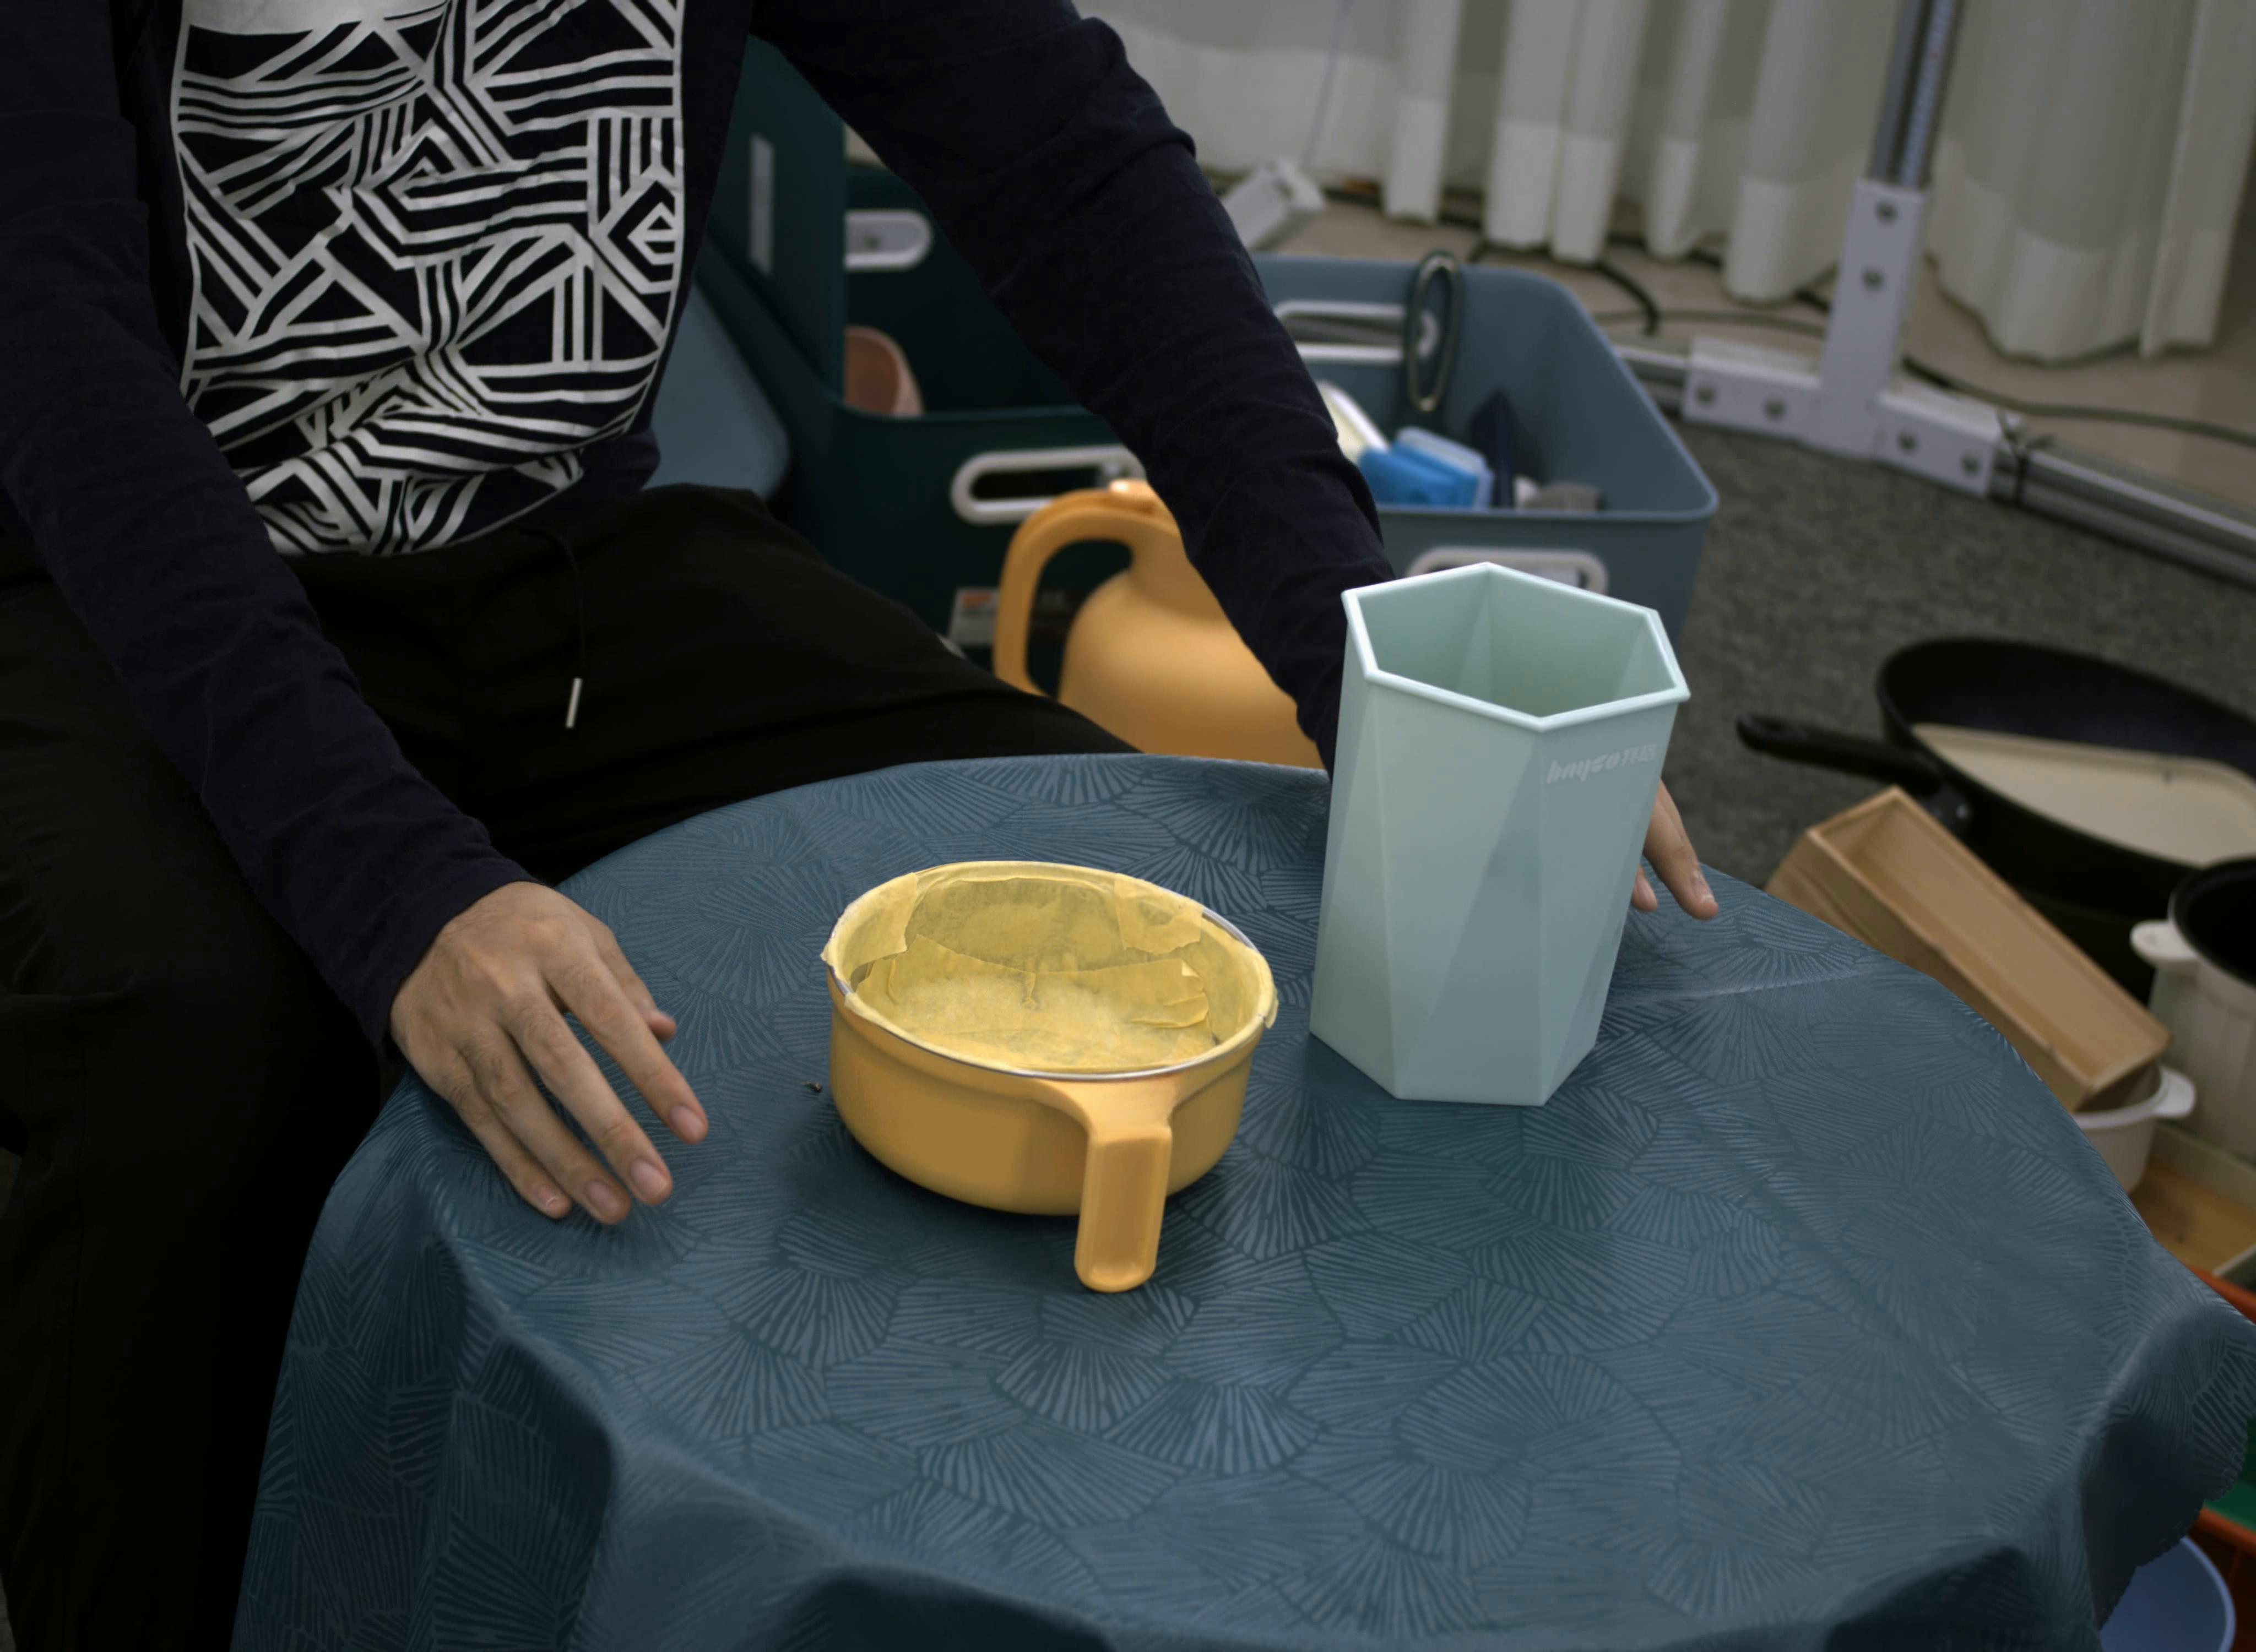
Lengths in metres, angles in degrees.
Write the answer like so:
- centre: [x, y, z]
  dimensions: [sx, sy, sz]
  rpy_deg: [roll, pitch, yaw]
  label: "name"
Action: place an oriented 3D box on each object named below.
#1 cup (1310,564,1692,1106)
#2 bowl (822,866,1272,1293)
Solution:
- centre: [0.127, 0.006, 1.887]
  dimensions: [0.130, 0.162, 0.116]
  rpy_deg: [-13, 31, -36]
  label: "cup"
- centre: [-0.026, 0.083, 1.808]
  dimensions: [0.152, 0.074, 0.181]
  rpy_deg: [-4, 26, -20]
  label: "bowl"
